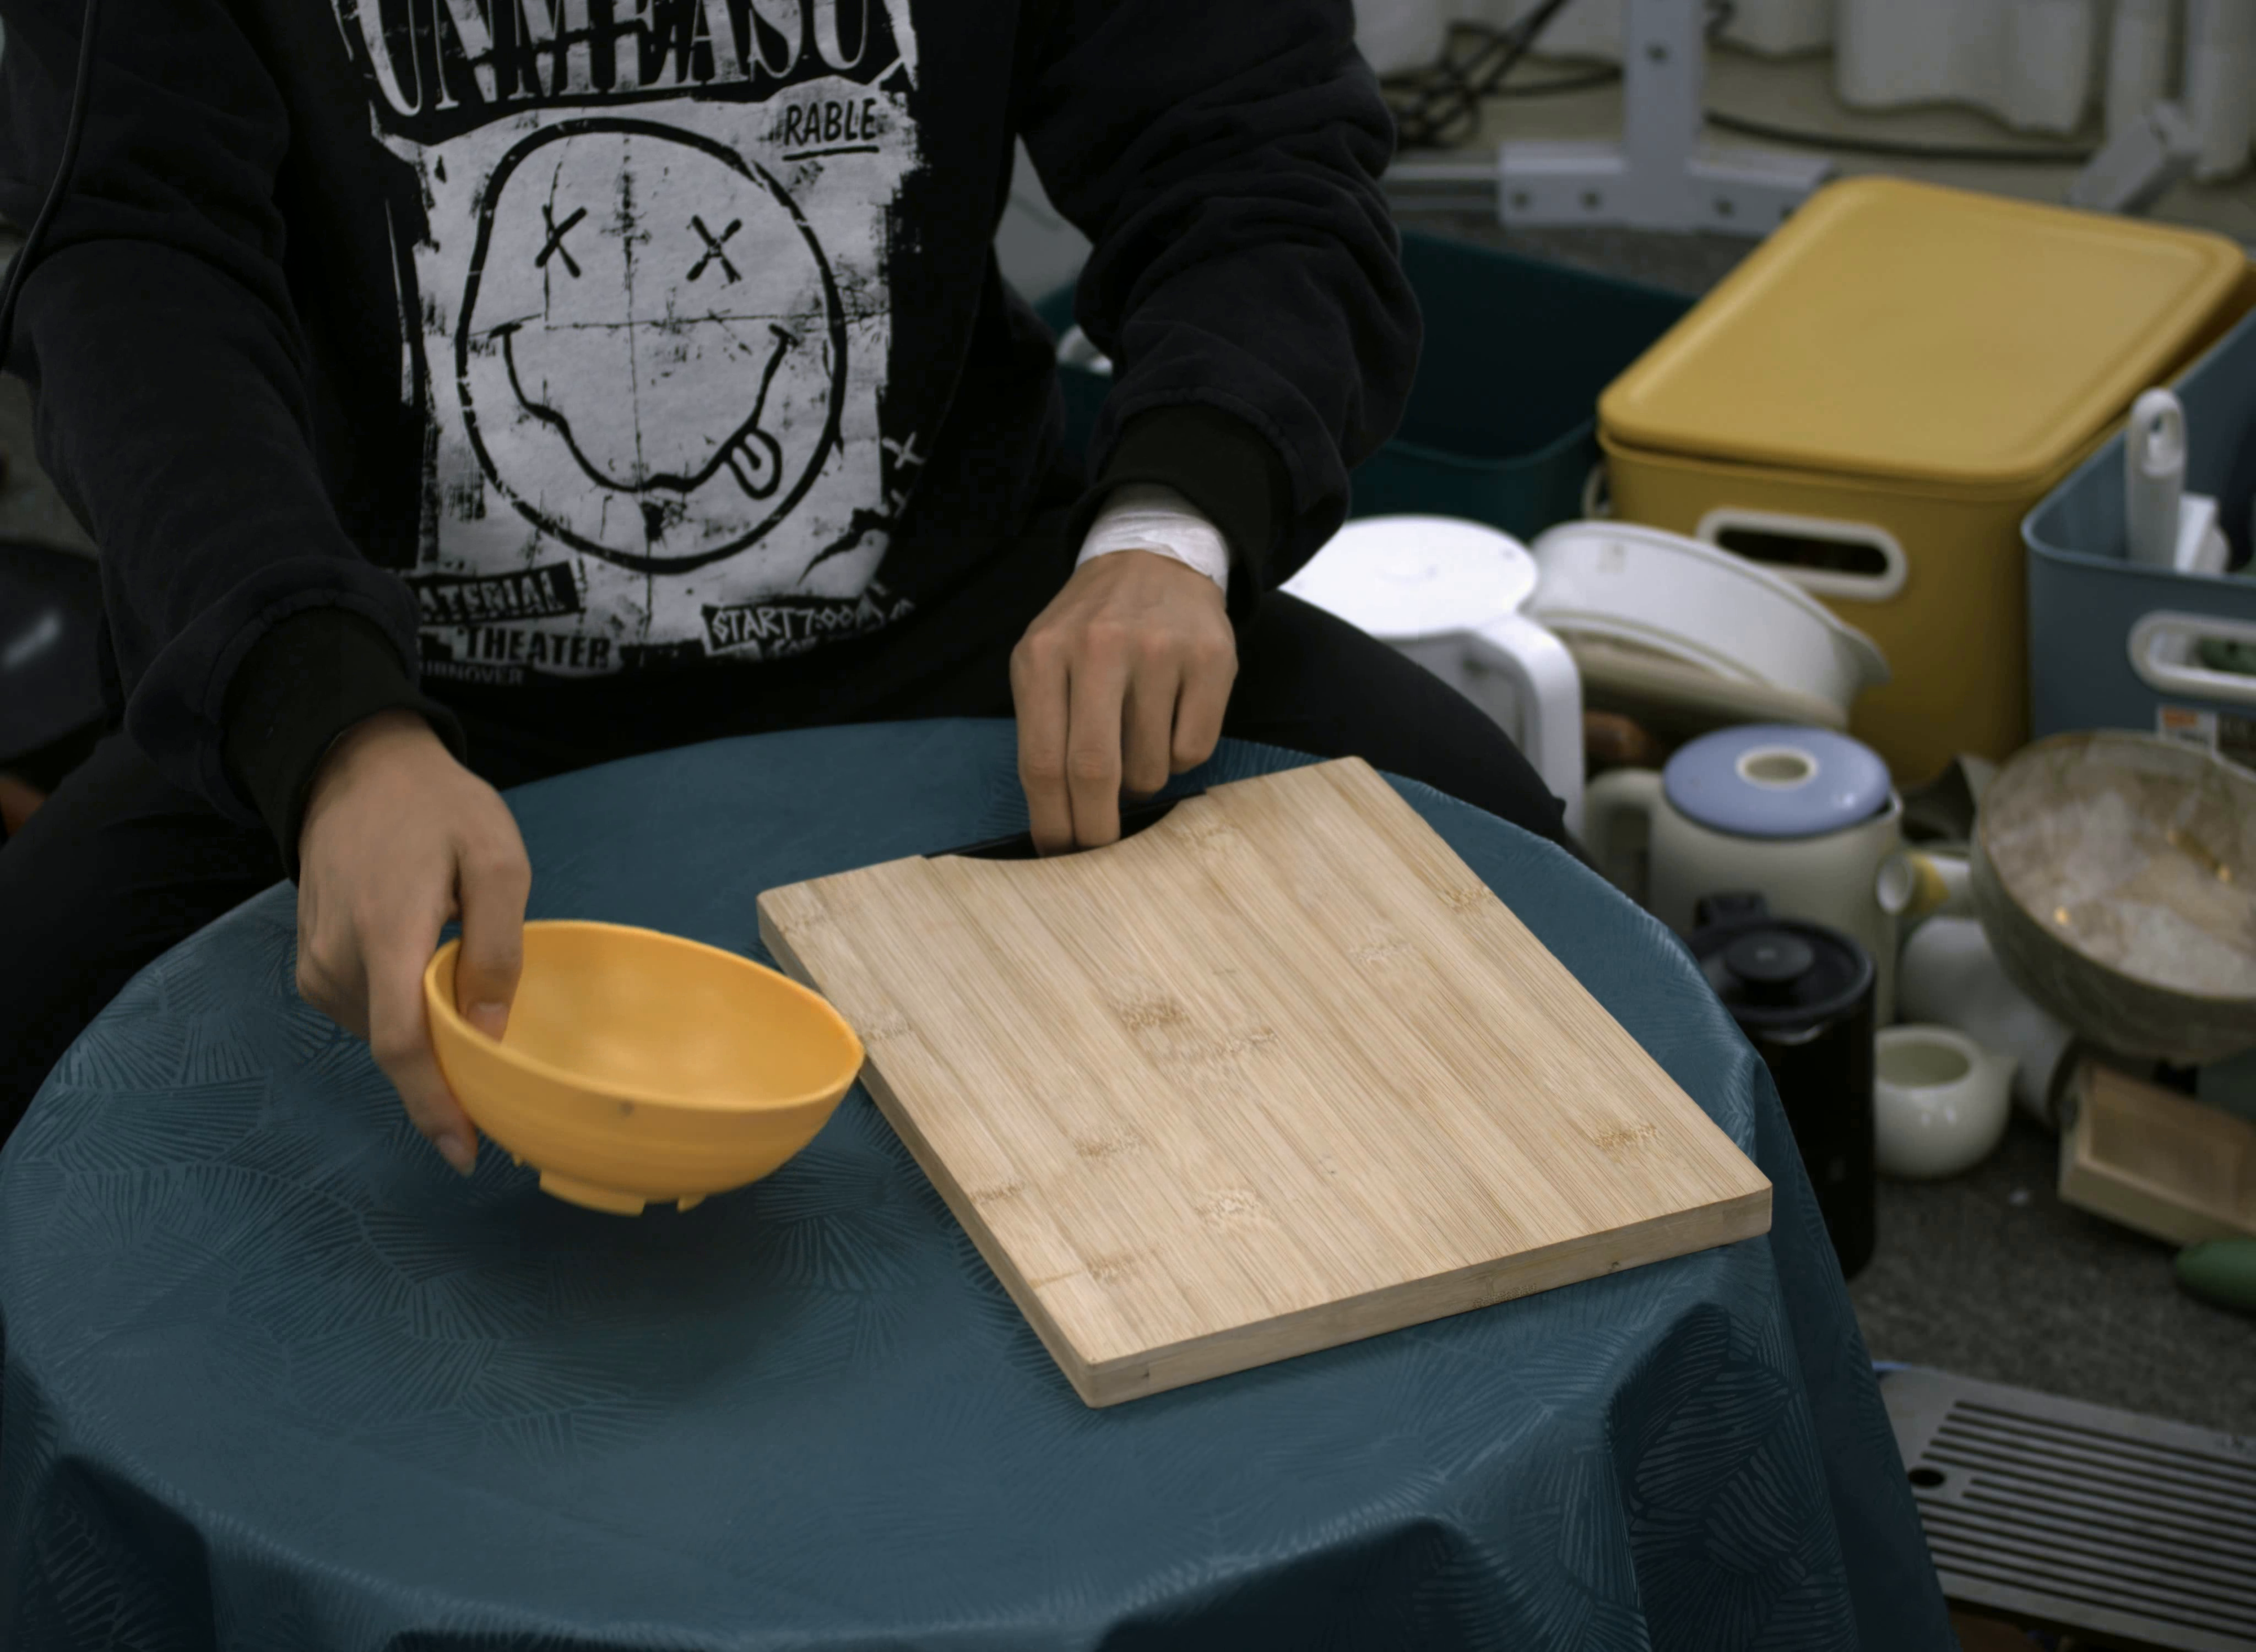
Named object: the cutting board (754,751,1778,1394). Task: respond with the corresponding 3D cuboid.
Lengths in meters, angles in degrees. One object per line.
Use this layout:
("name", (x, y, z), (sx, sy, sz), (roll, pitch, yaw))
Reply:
("cutting board", (0.037, 0.077, 1.927), (0.251, 0.023, 0.351), (-13, 29, -19))

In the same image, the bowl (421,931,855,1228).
("bowl", (-0.165, 0.091, 1.834), (0.145, 0.059, 0.147), (13, 18, -4))
